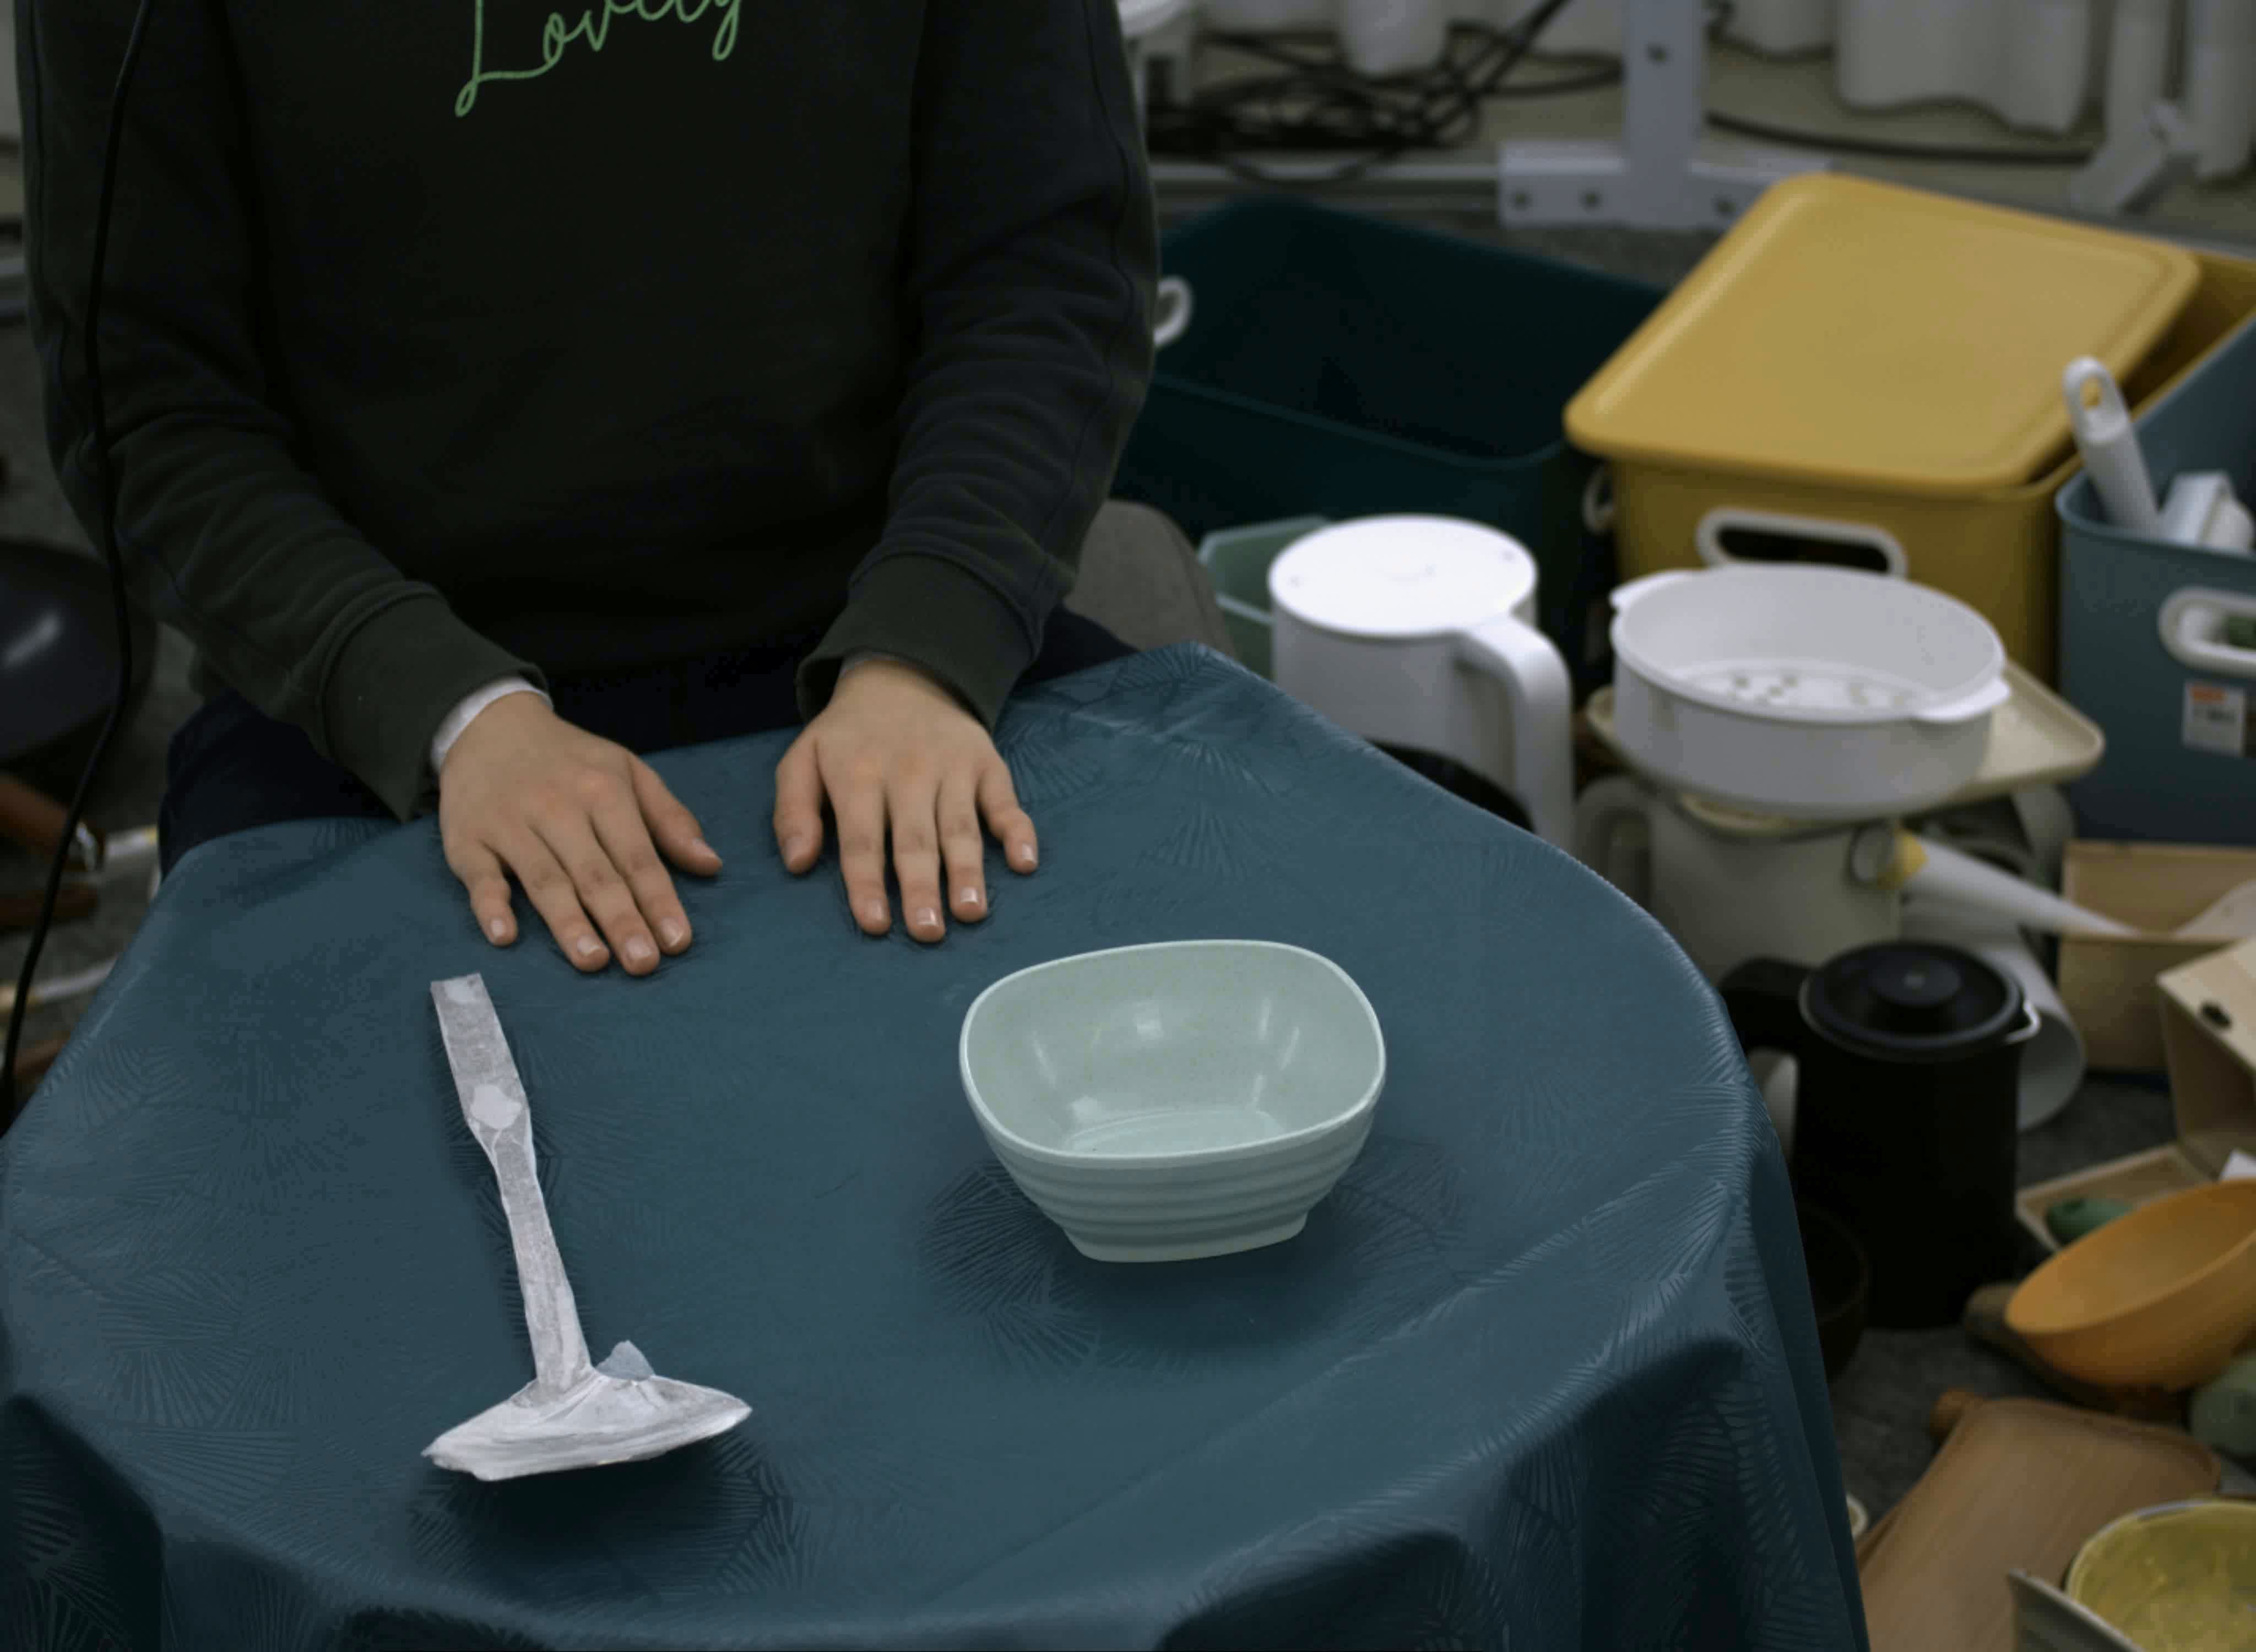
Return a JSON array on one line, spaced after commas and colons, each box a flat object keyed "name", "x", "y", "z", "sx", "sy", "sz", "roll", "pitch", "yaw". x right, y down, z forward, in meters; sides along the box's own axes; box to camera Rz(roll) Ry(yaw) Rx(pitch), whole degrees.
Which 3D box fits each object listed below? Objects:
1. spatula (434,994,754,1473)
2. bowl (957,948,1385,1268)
[{"name": "spatula", "x": -0.192, "y": 0.125, "z": 1.833, "sx": 0.098, "sy": 0.044, "sz": 0.369, "roll": -10, "pitch": 28, "yaw": -9}, {"name": "bowl", "x": 0.015, "y": 0.099, "z": 1.847, "sx": 0.151, "sy": 0.058, "sz": 0.154, "roll": -1, "pitch": 27, "yaw": 1}]
